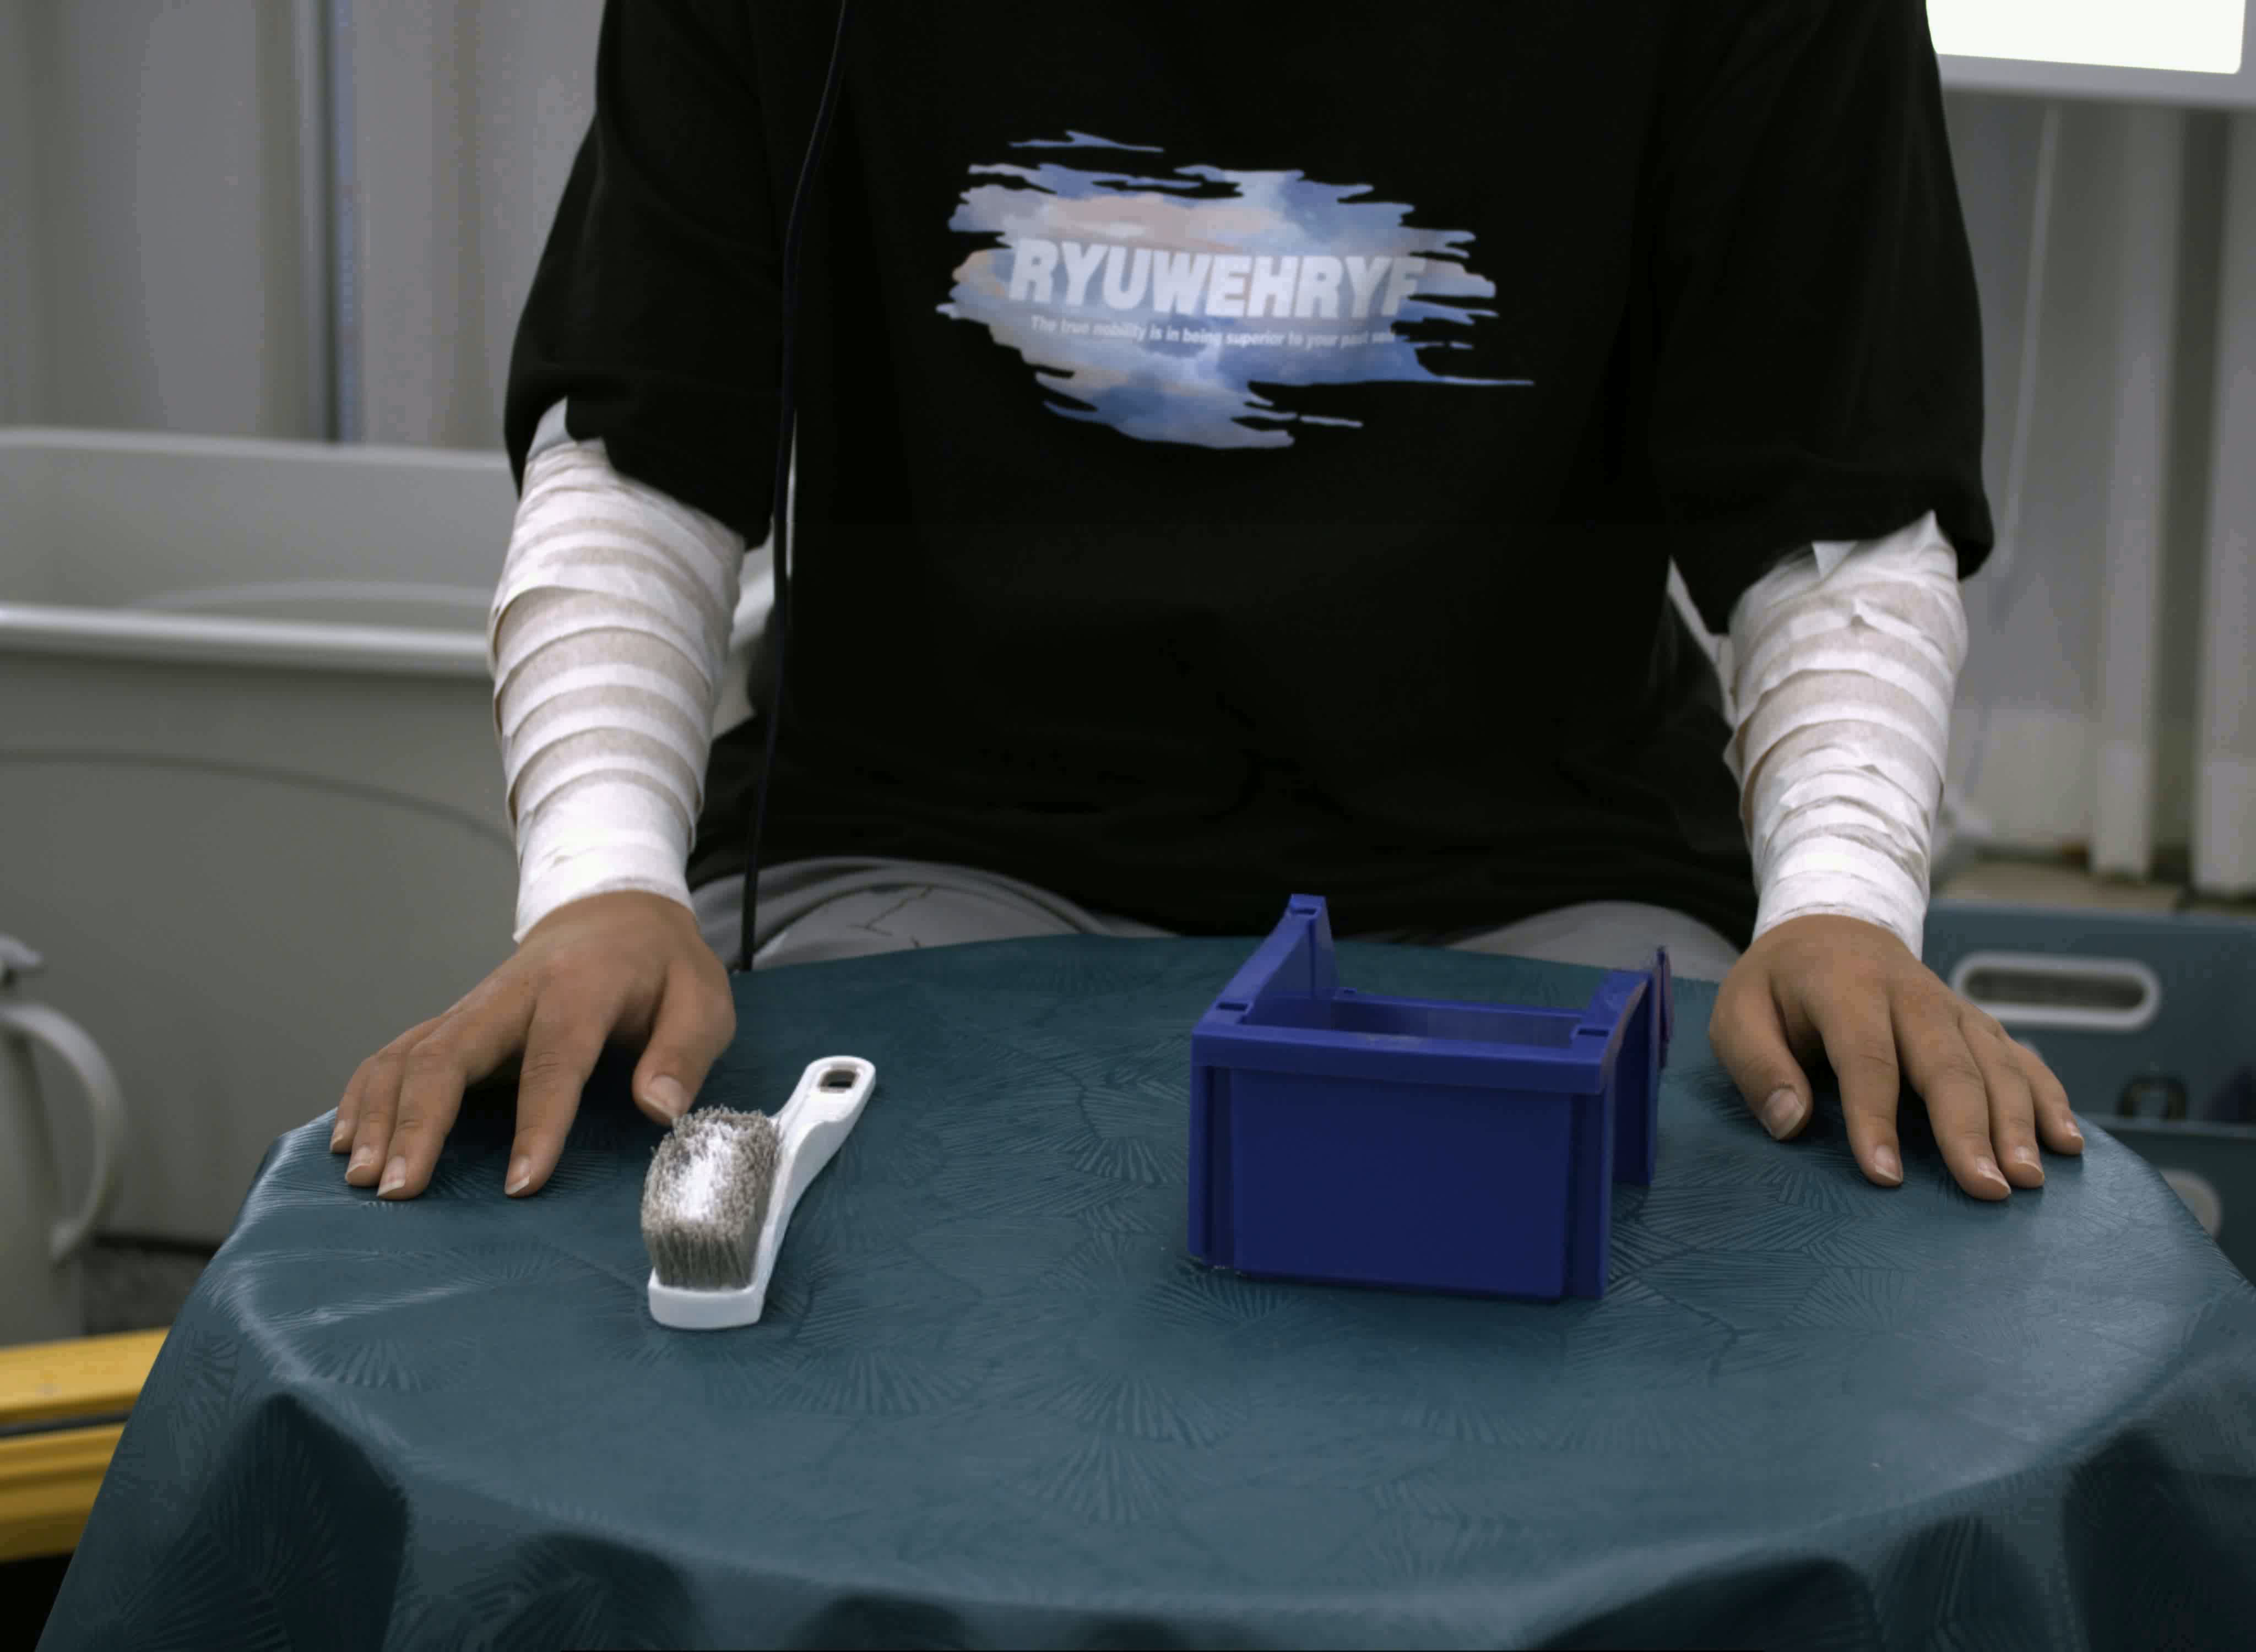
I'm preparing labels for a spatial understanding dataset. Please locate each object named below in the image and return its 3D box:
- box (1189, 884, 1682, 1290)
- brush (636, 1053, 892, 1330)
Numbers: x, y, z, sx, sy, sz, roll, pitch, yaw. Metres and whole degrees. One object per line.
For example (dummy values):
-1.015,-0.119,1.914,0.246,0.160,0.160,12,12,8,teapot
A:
0.095,0.075,1.610,0.123,0.082,0.179,4,17,14,box
-0.107,0.091,1.603,0.034,0.050,0.243,3,16,9,brush
